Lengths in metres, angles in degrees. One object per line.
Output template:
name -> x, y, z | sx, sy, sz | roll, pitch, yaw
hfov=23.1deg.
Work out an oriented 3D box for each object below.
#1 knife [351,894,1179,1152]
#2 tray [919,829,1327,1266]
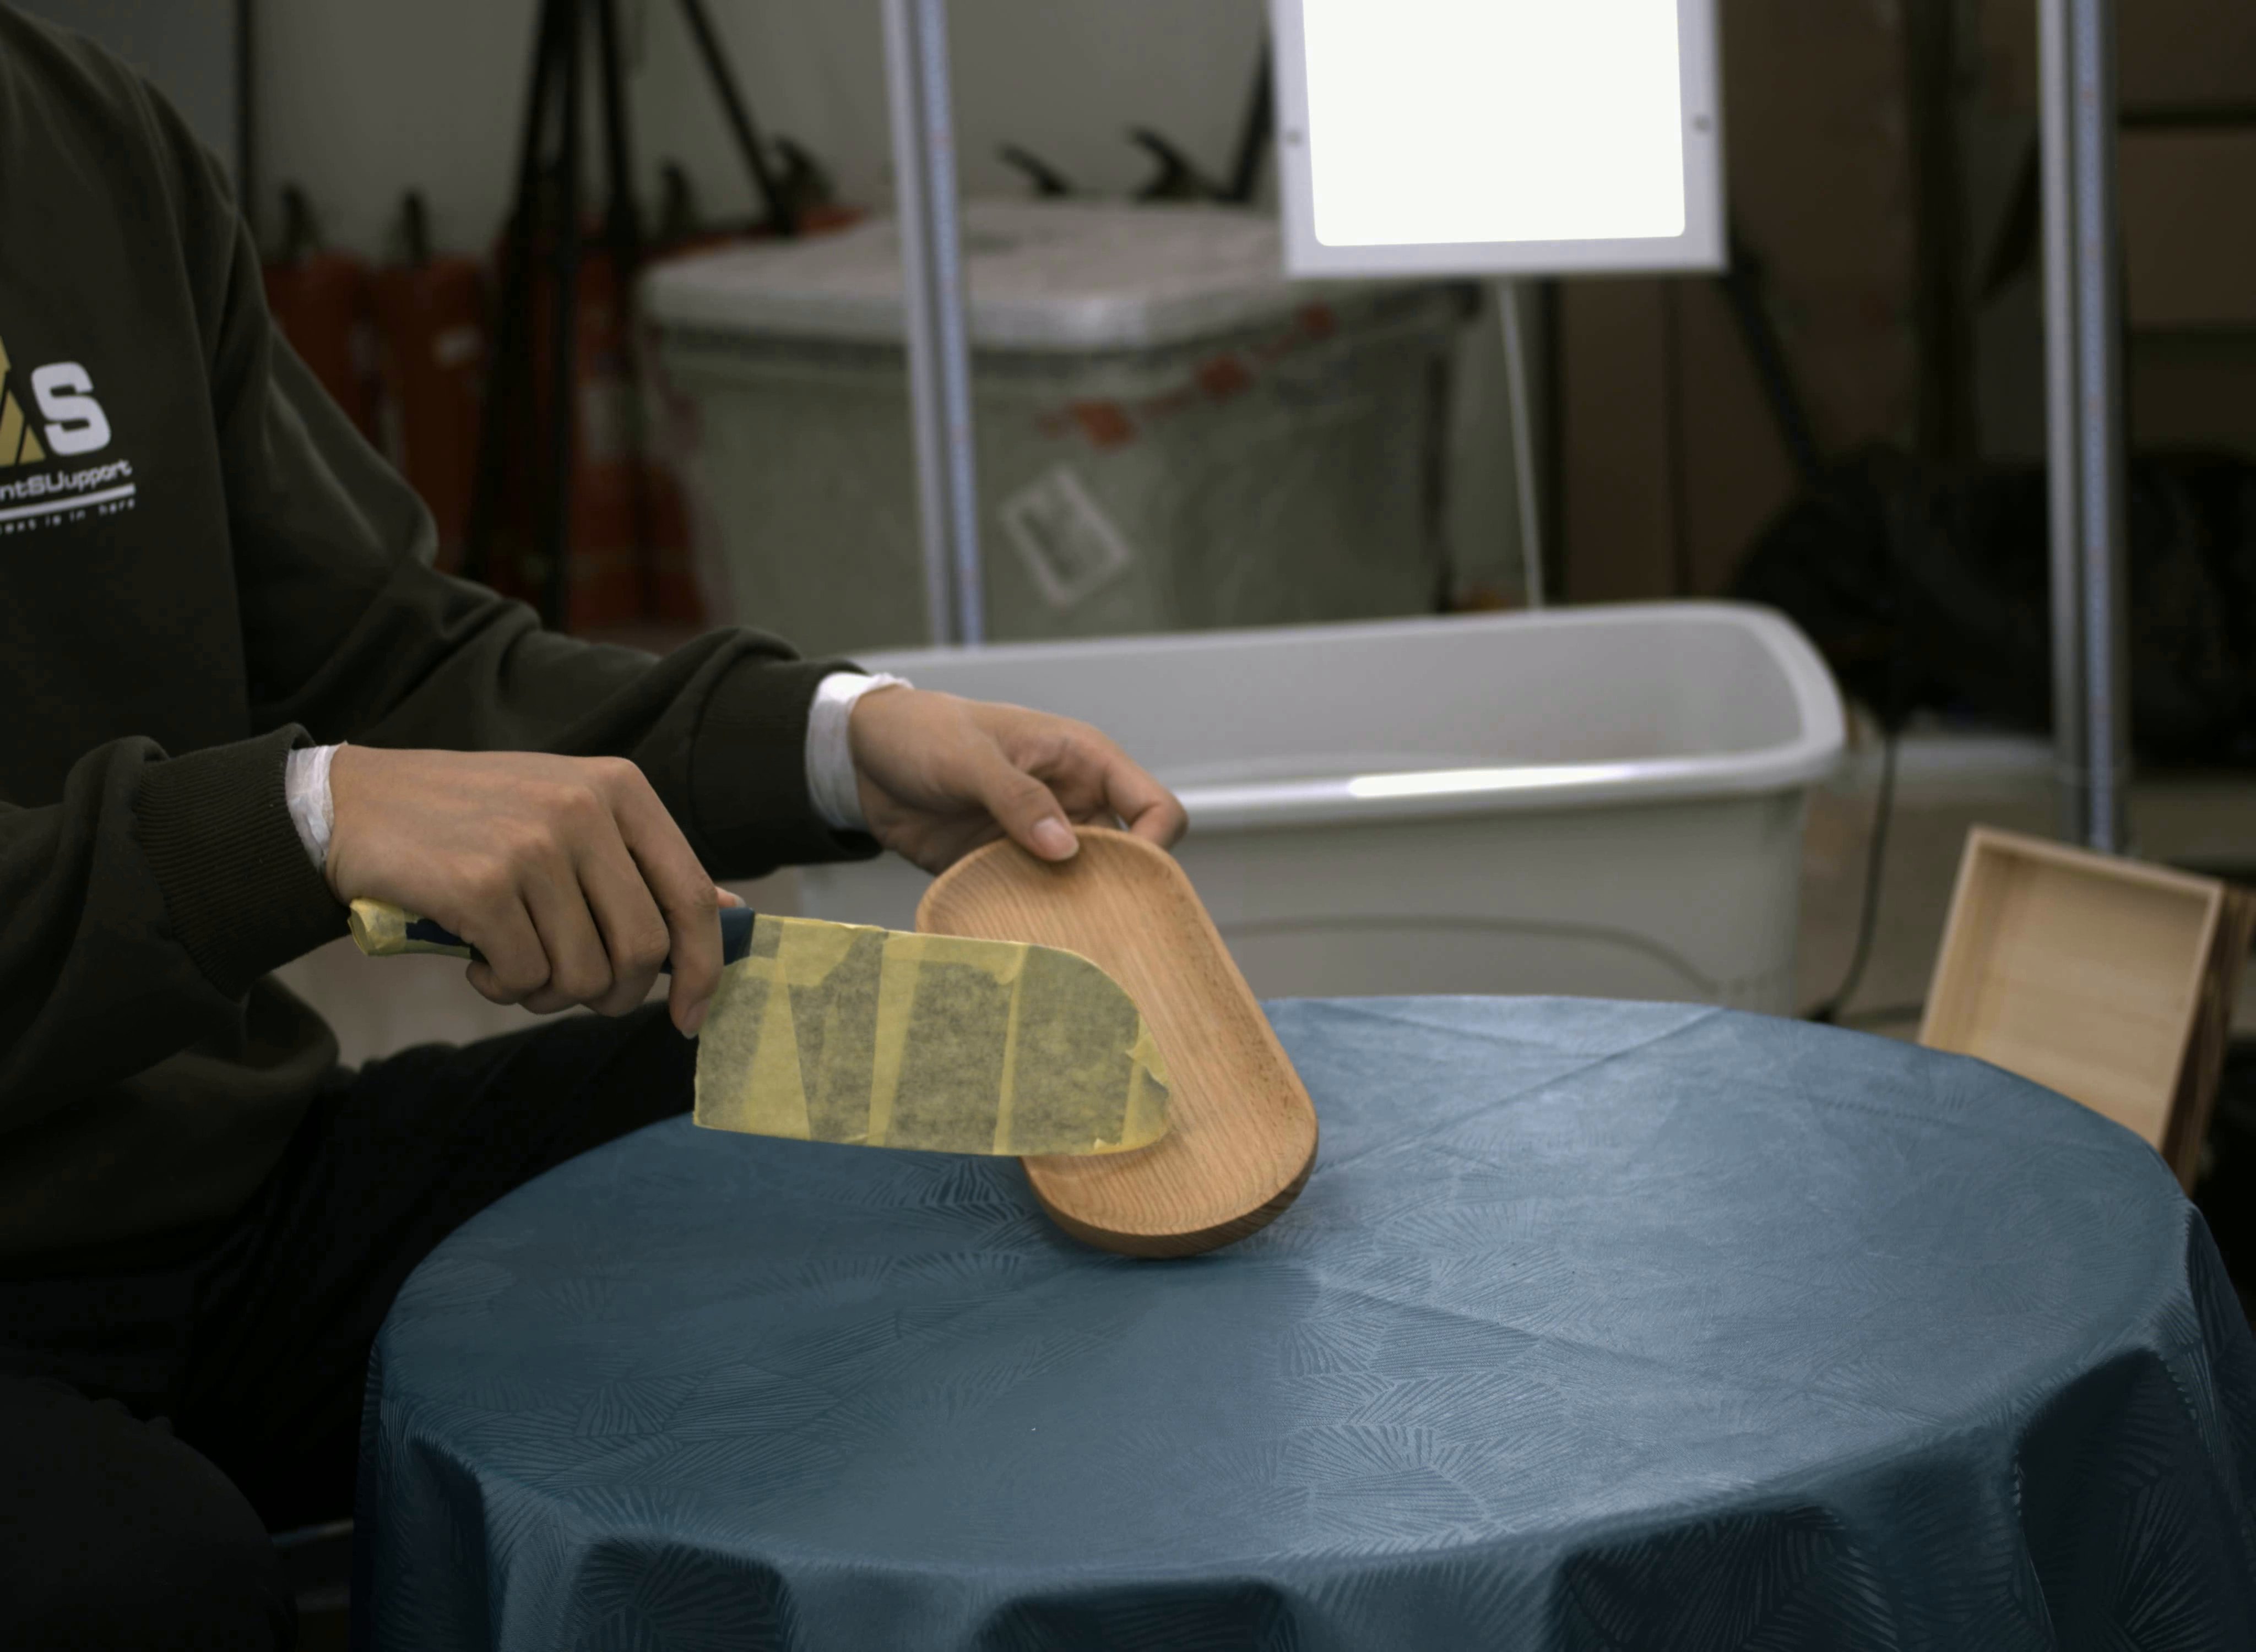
knife -> -0.117, 0.065, 1.824 | 0.285, 0.081, 0.027 | 9, -4, -15
tray -> -0.003, 0.074, 1.909 | 0.101, 0.020, 0.233 | -19, 40, -8
